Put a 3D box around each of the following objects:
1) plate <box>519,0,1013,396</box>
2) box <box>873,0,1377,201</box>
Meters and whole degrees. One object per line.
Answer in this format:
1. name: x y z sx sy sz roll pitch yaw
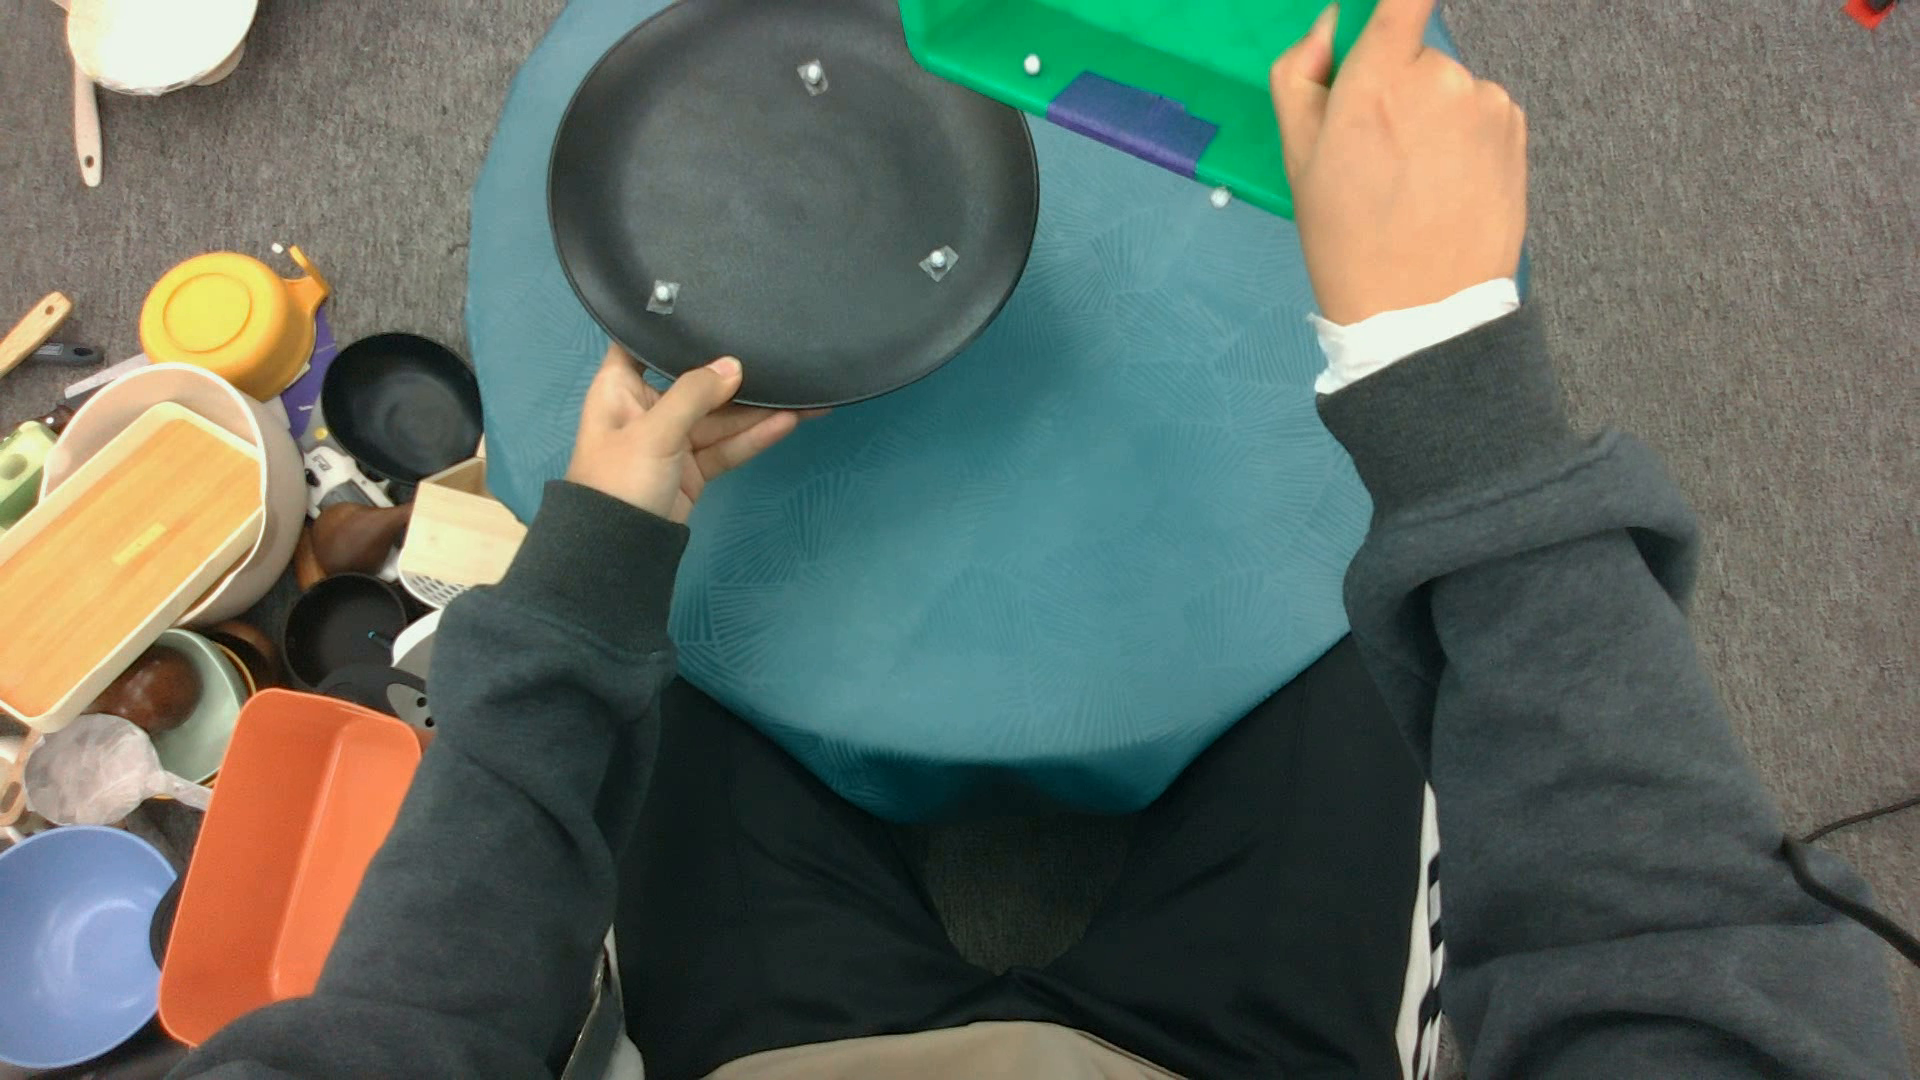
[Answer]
1. plate: -0.095 -0.181 0.692 0.244 0.023 0.245 1 73 -4
2. box: 0.066 -0.231 0.531 0.210 0.138 0.065 24 57 18
